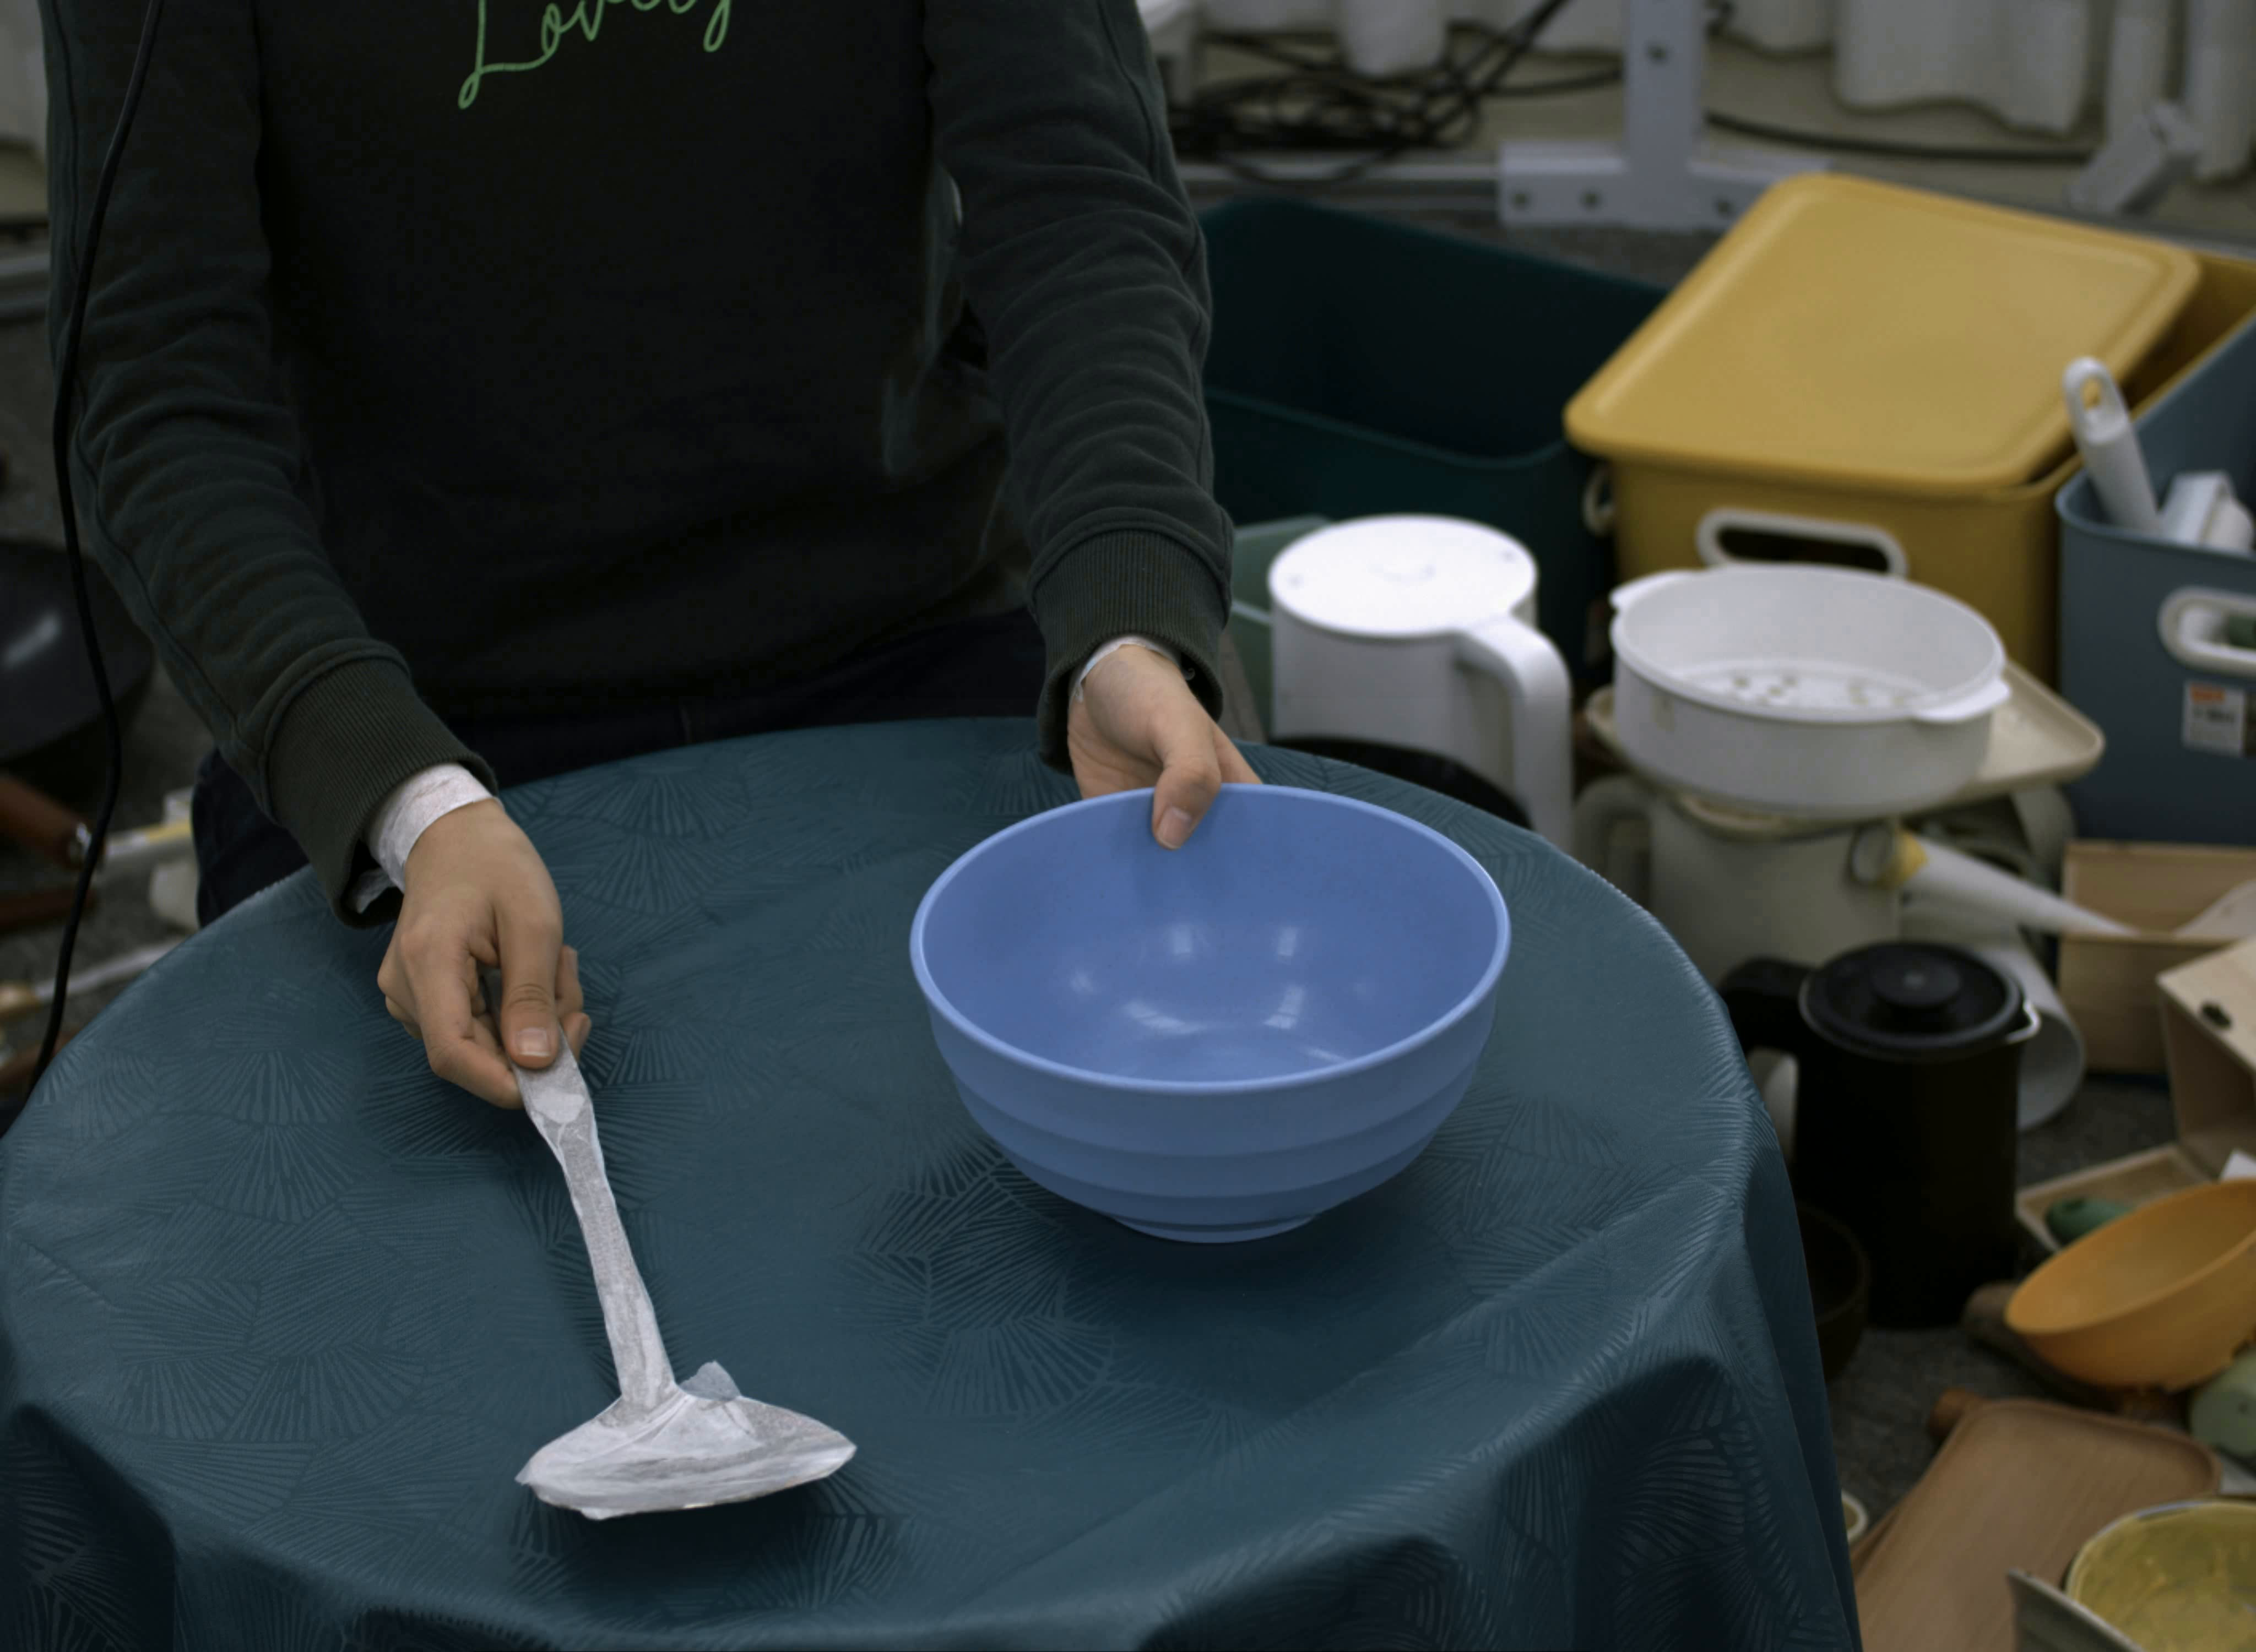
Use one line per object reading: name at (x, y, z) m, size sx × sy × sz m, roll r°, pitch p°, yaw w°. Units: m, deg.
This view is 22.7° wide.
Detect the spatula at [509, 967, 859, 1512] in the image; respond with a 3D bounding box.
spatula at (-0.167, 0.125, 1.815) m, size 0.098 × 0.044 × 0.369 m, roll -8°, pitch 32°, yaw -12°

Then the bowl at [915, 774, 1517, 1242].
bowl at (0.029, 0.072, 1.847) m, size 0.195 × 0.094 × 0.200 m, roll -1°, pitch 30°, yaw 1°
